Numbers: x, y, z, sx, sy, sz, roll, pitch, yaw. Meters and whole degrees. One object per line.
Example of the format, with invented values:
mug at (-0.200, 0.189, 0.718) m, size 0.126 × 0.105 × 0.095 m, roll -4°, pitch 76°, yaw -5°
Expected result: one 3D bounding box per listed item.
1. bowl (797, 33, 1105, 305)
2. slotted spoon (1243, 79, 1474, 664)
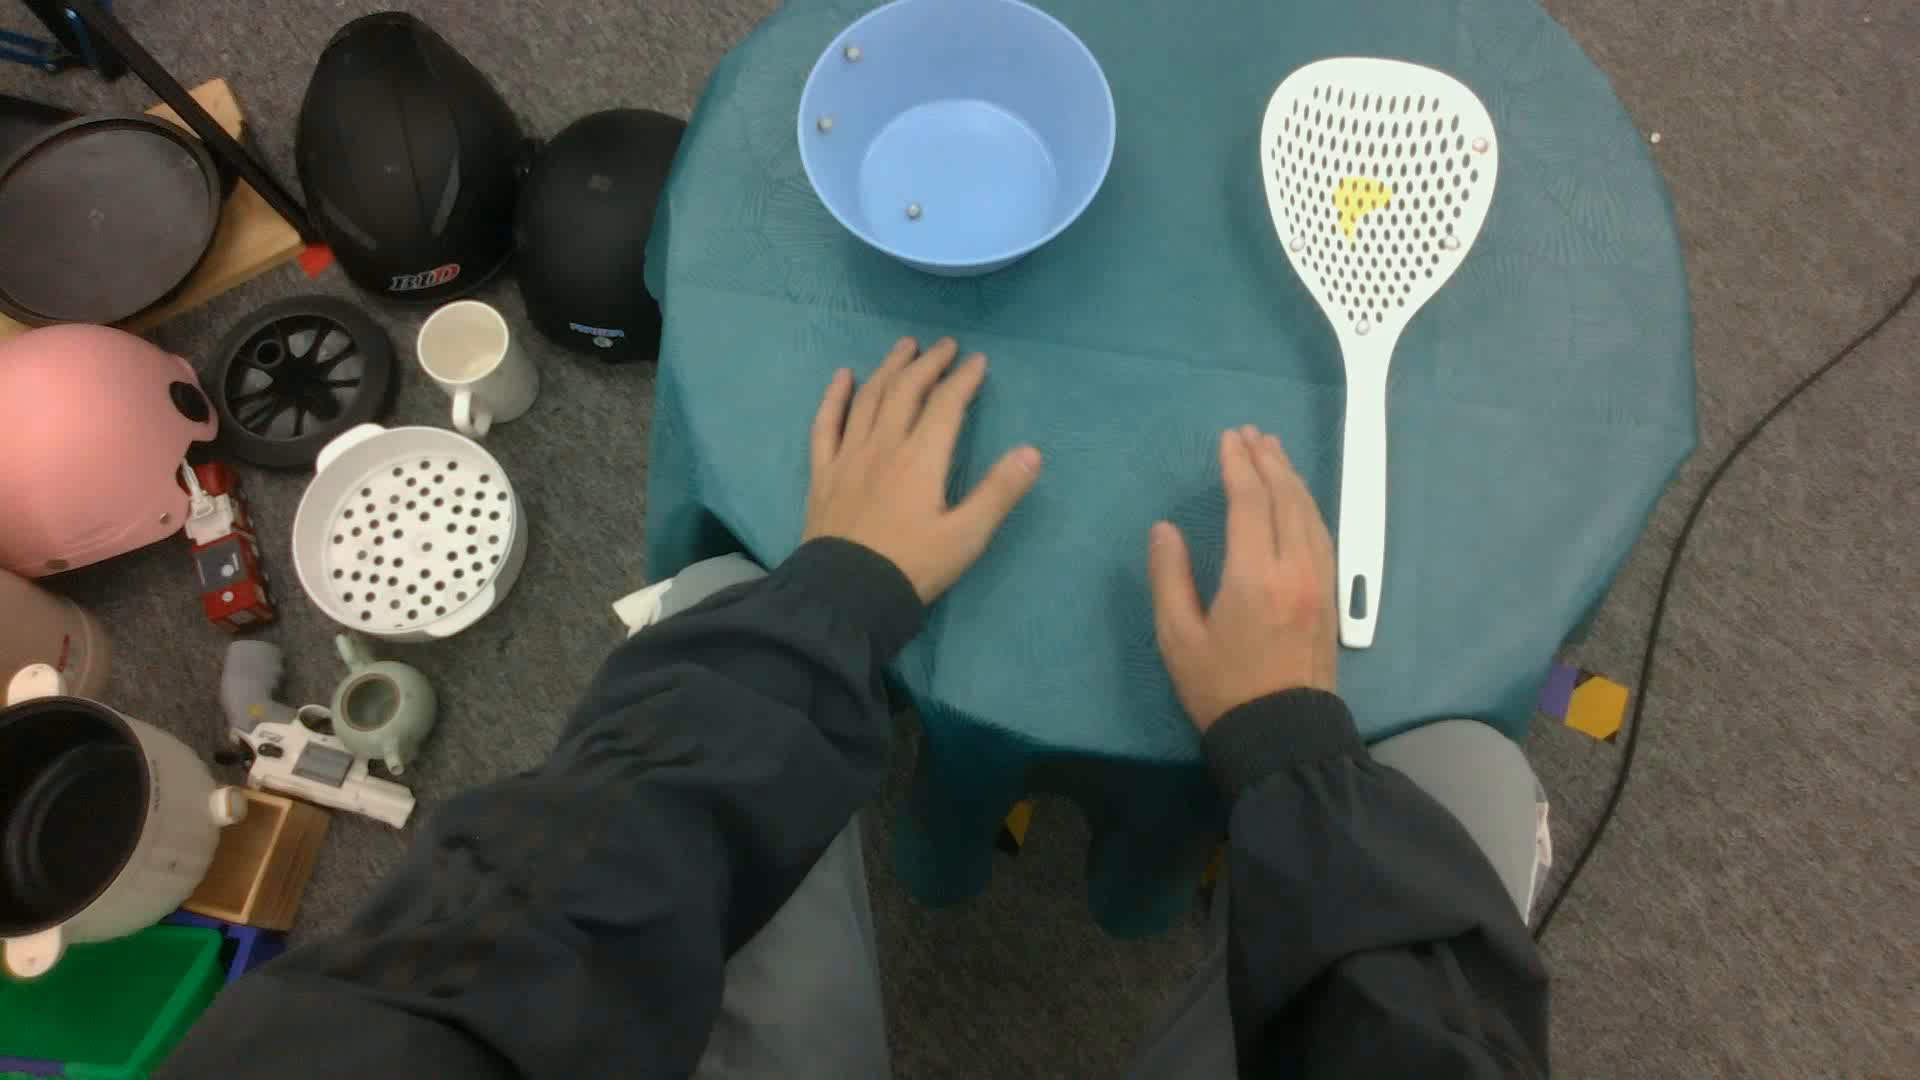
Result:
bowl at (-0.005, -0.206, 0.811) m, size 0.176 × 0.070 × 0.176 m, roll 0°, pitch 70°, yaw 1°
slotted spoon at (0.225, -0.104, 0.787) m, size 0.137 × 0.050 × 0.349 m, roll 5°, pitch 71°, yaw -2°
